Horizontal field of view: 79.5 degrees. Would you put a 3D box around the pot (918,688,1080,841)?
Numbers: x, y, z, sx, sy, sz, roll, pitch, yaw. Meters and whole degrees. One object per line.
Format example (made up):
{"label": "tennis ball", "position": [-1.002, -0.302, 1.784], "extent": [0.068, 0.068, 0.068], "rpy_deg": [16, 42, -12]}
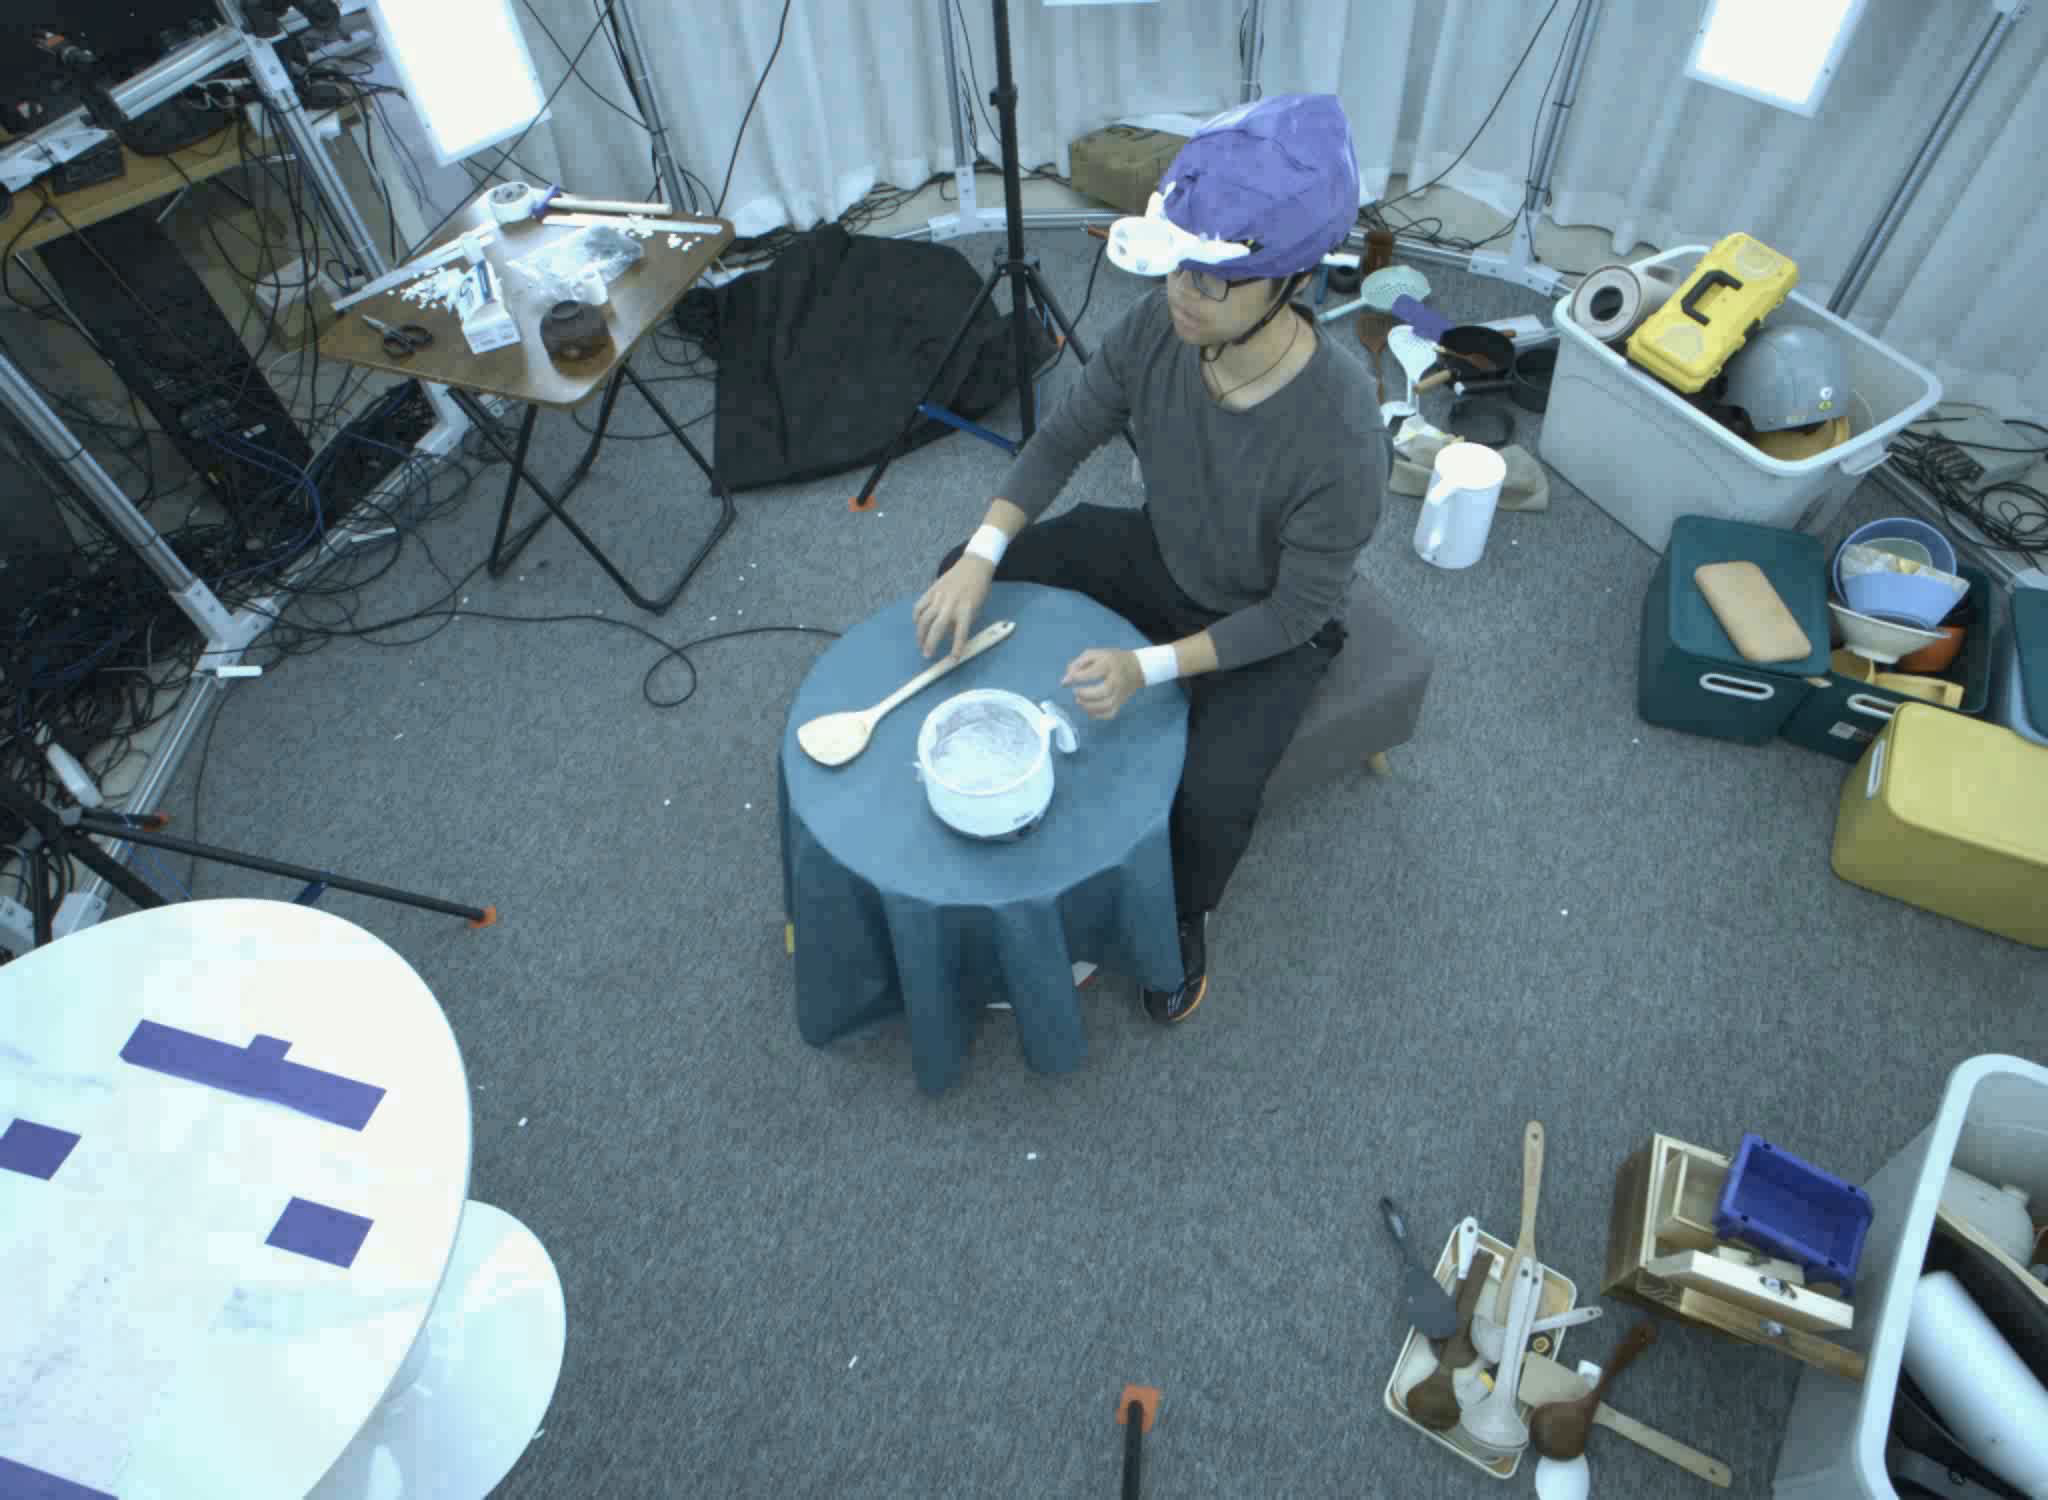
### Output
{"label": "pot", "position": [-0.027, 0.010, 1.703], "extent": [0.235, 0.138, 0.175], "rpy_deg": [-30, 59, -18]}

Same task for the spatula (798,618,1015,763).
{"label": "spatula", "position": [-0.169, -0.103, 1.862], "extent": [0.394, 0.018, 0.094], "rpy_deg": [-36, 63, -22]}
